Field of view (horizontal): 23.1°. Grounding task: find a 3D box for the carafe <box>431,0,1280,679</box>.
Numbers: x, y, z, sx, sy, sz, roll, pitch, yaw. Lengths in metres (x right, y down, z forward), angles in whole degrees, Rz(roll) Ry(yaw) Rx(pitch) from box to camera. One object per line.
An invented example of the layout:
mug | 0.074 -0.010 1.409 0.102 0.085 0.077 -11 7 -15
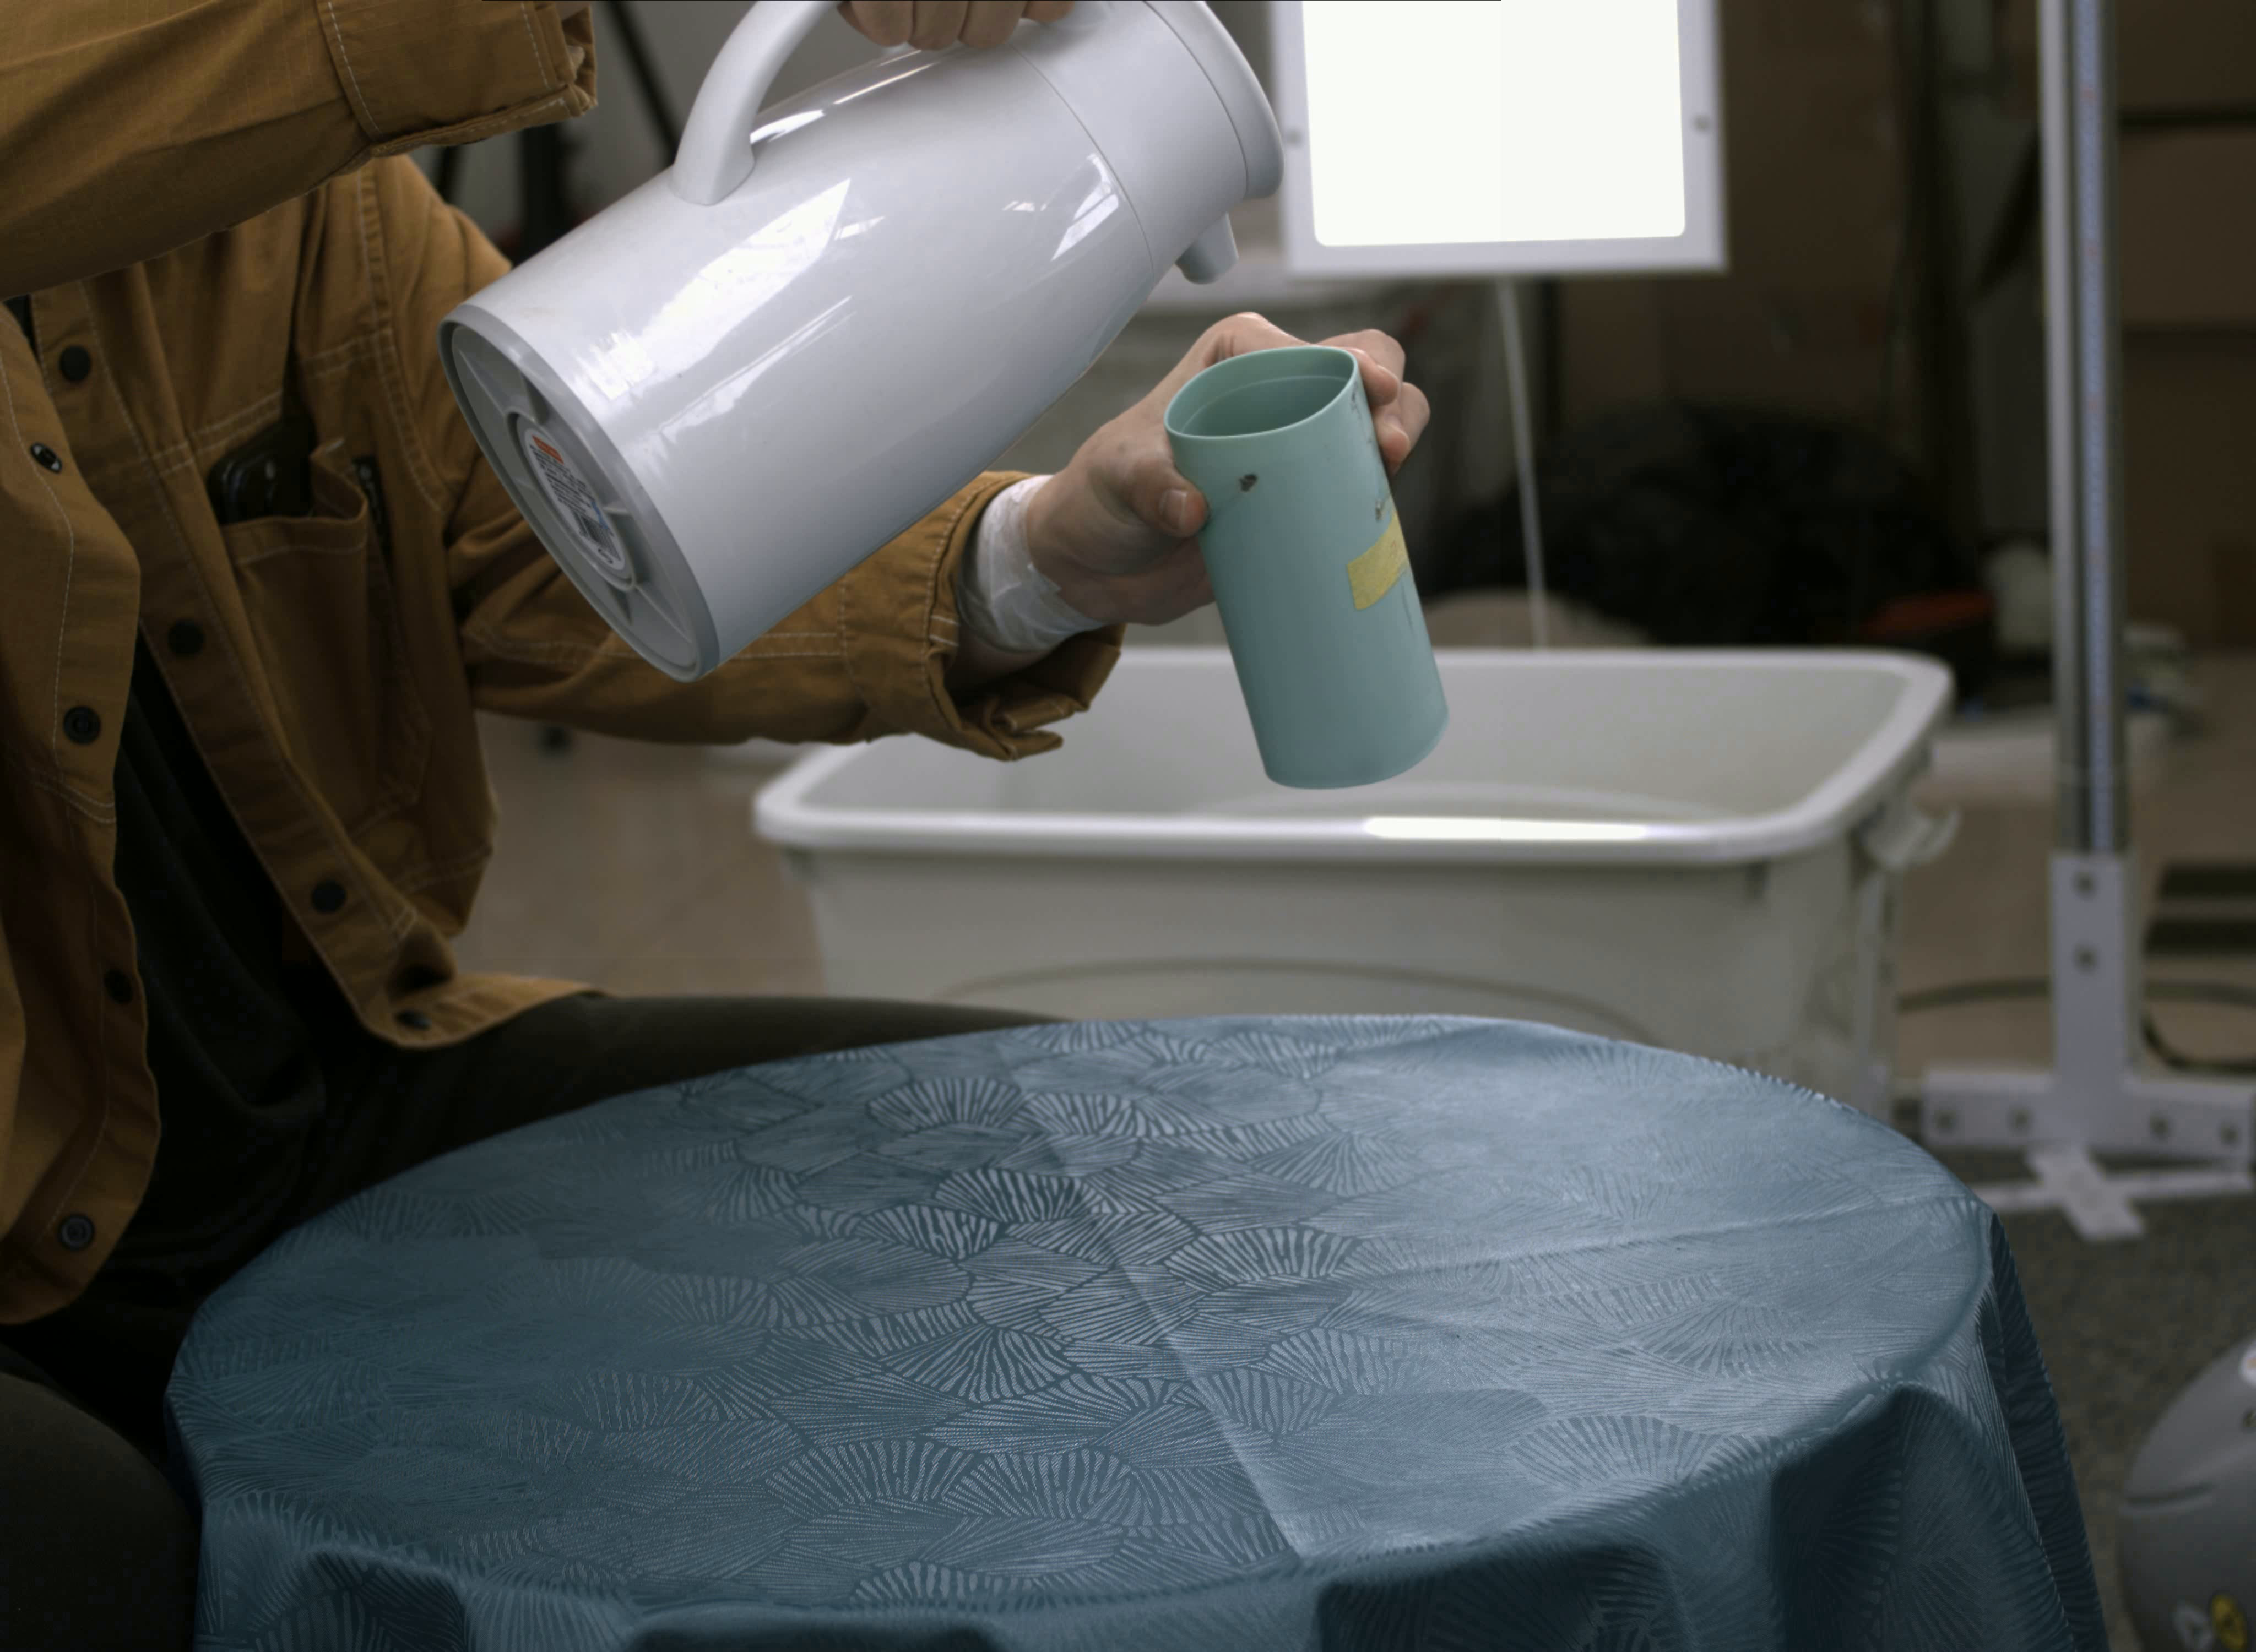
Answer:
carafe | -0.077 -0.180 1.654 0.246 0.167 0.134 -36 39 -12

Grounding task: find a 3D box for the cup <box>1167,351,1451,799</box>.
cup | 0.058 -0.081 1.773 0.067 0.132 0.066 -13 27 6
